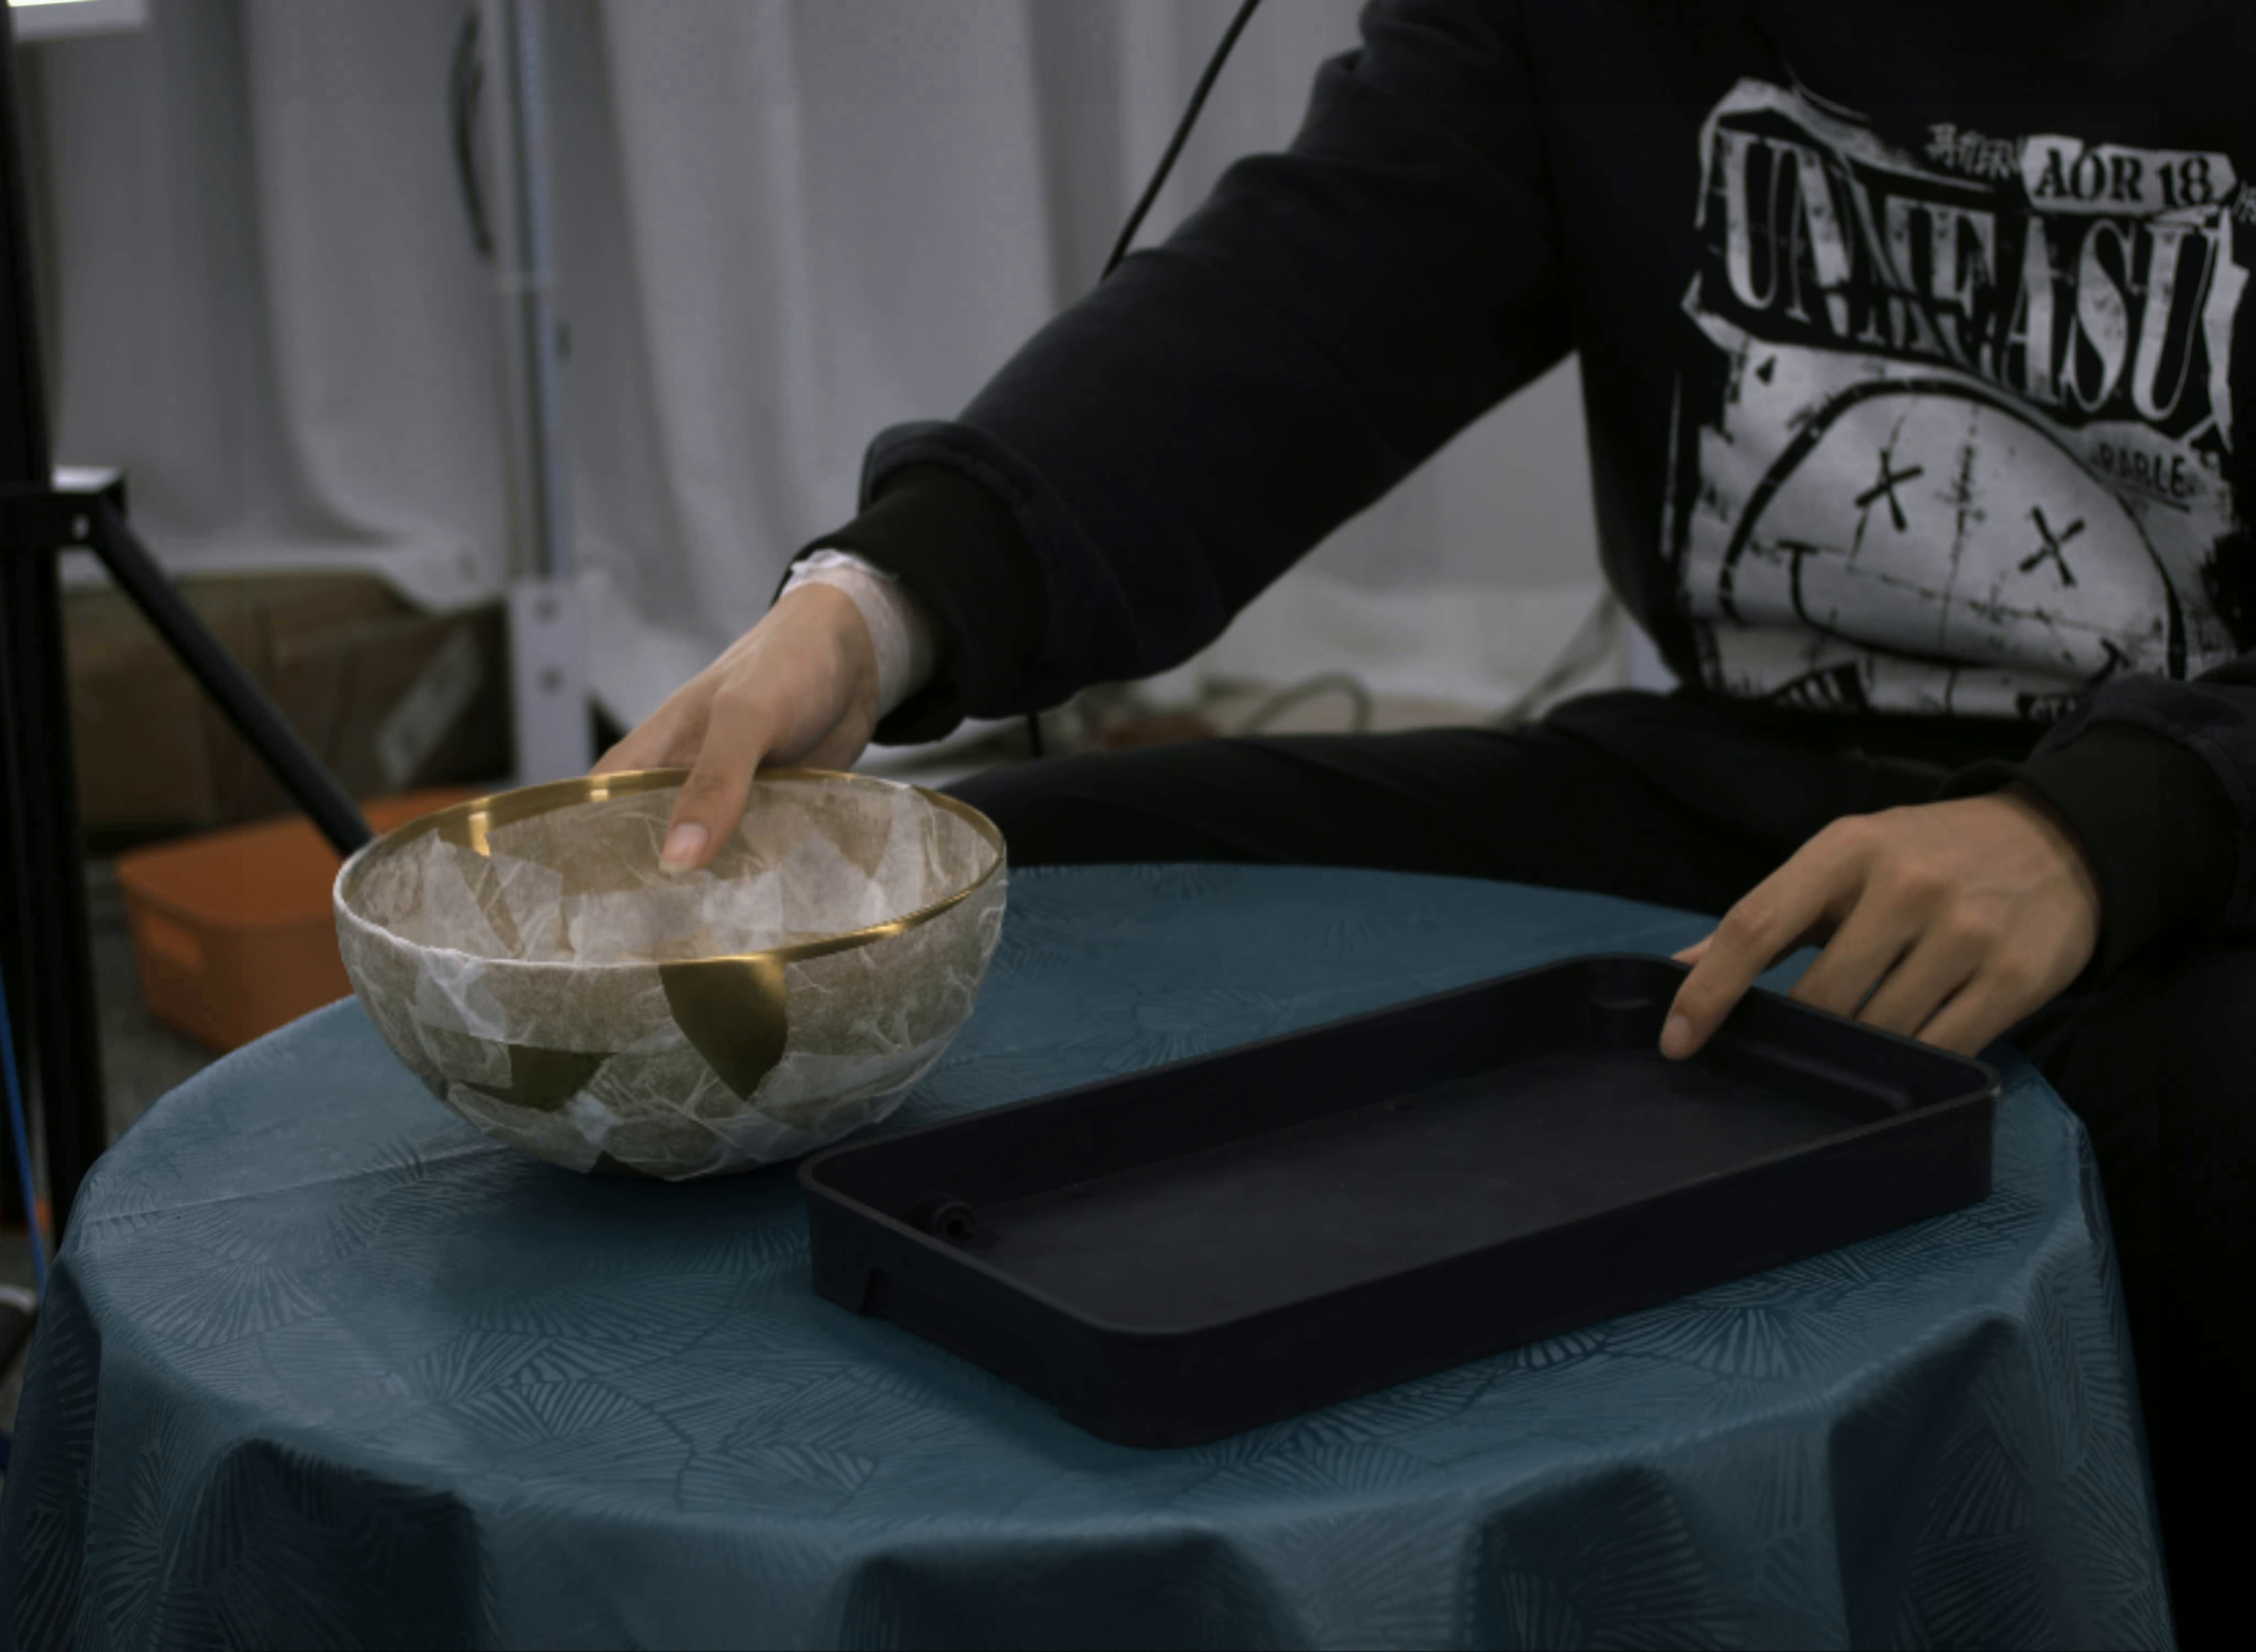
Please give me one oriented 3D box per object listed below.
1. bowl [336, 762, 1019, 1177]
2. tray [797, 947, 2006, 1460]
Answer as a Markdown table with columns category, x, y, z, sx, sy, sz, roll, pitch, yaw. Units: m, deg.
| category | x | y | z | sx | sy | sz | roll | pitch | yaw |
| --- | --- | --- | --- | --- | --- | --- | --- | --- | --- |
| bowl | -0.130 | 0.051 | 1.609 | 0.213 | 0.094 | 0.216 | -4 | 16 | 0 |
| tray | 0.080 | 0.101 | 1.507 | 0.311 | 0.037 | 0.188 | -13 | 19 | -30 |
